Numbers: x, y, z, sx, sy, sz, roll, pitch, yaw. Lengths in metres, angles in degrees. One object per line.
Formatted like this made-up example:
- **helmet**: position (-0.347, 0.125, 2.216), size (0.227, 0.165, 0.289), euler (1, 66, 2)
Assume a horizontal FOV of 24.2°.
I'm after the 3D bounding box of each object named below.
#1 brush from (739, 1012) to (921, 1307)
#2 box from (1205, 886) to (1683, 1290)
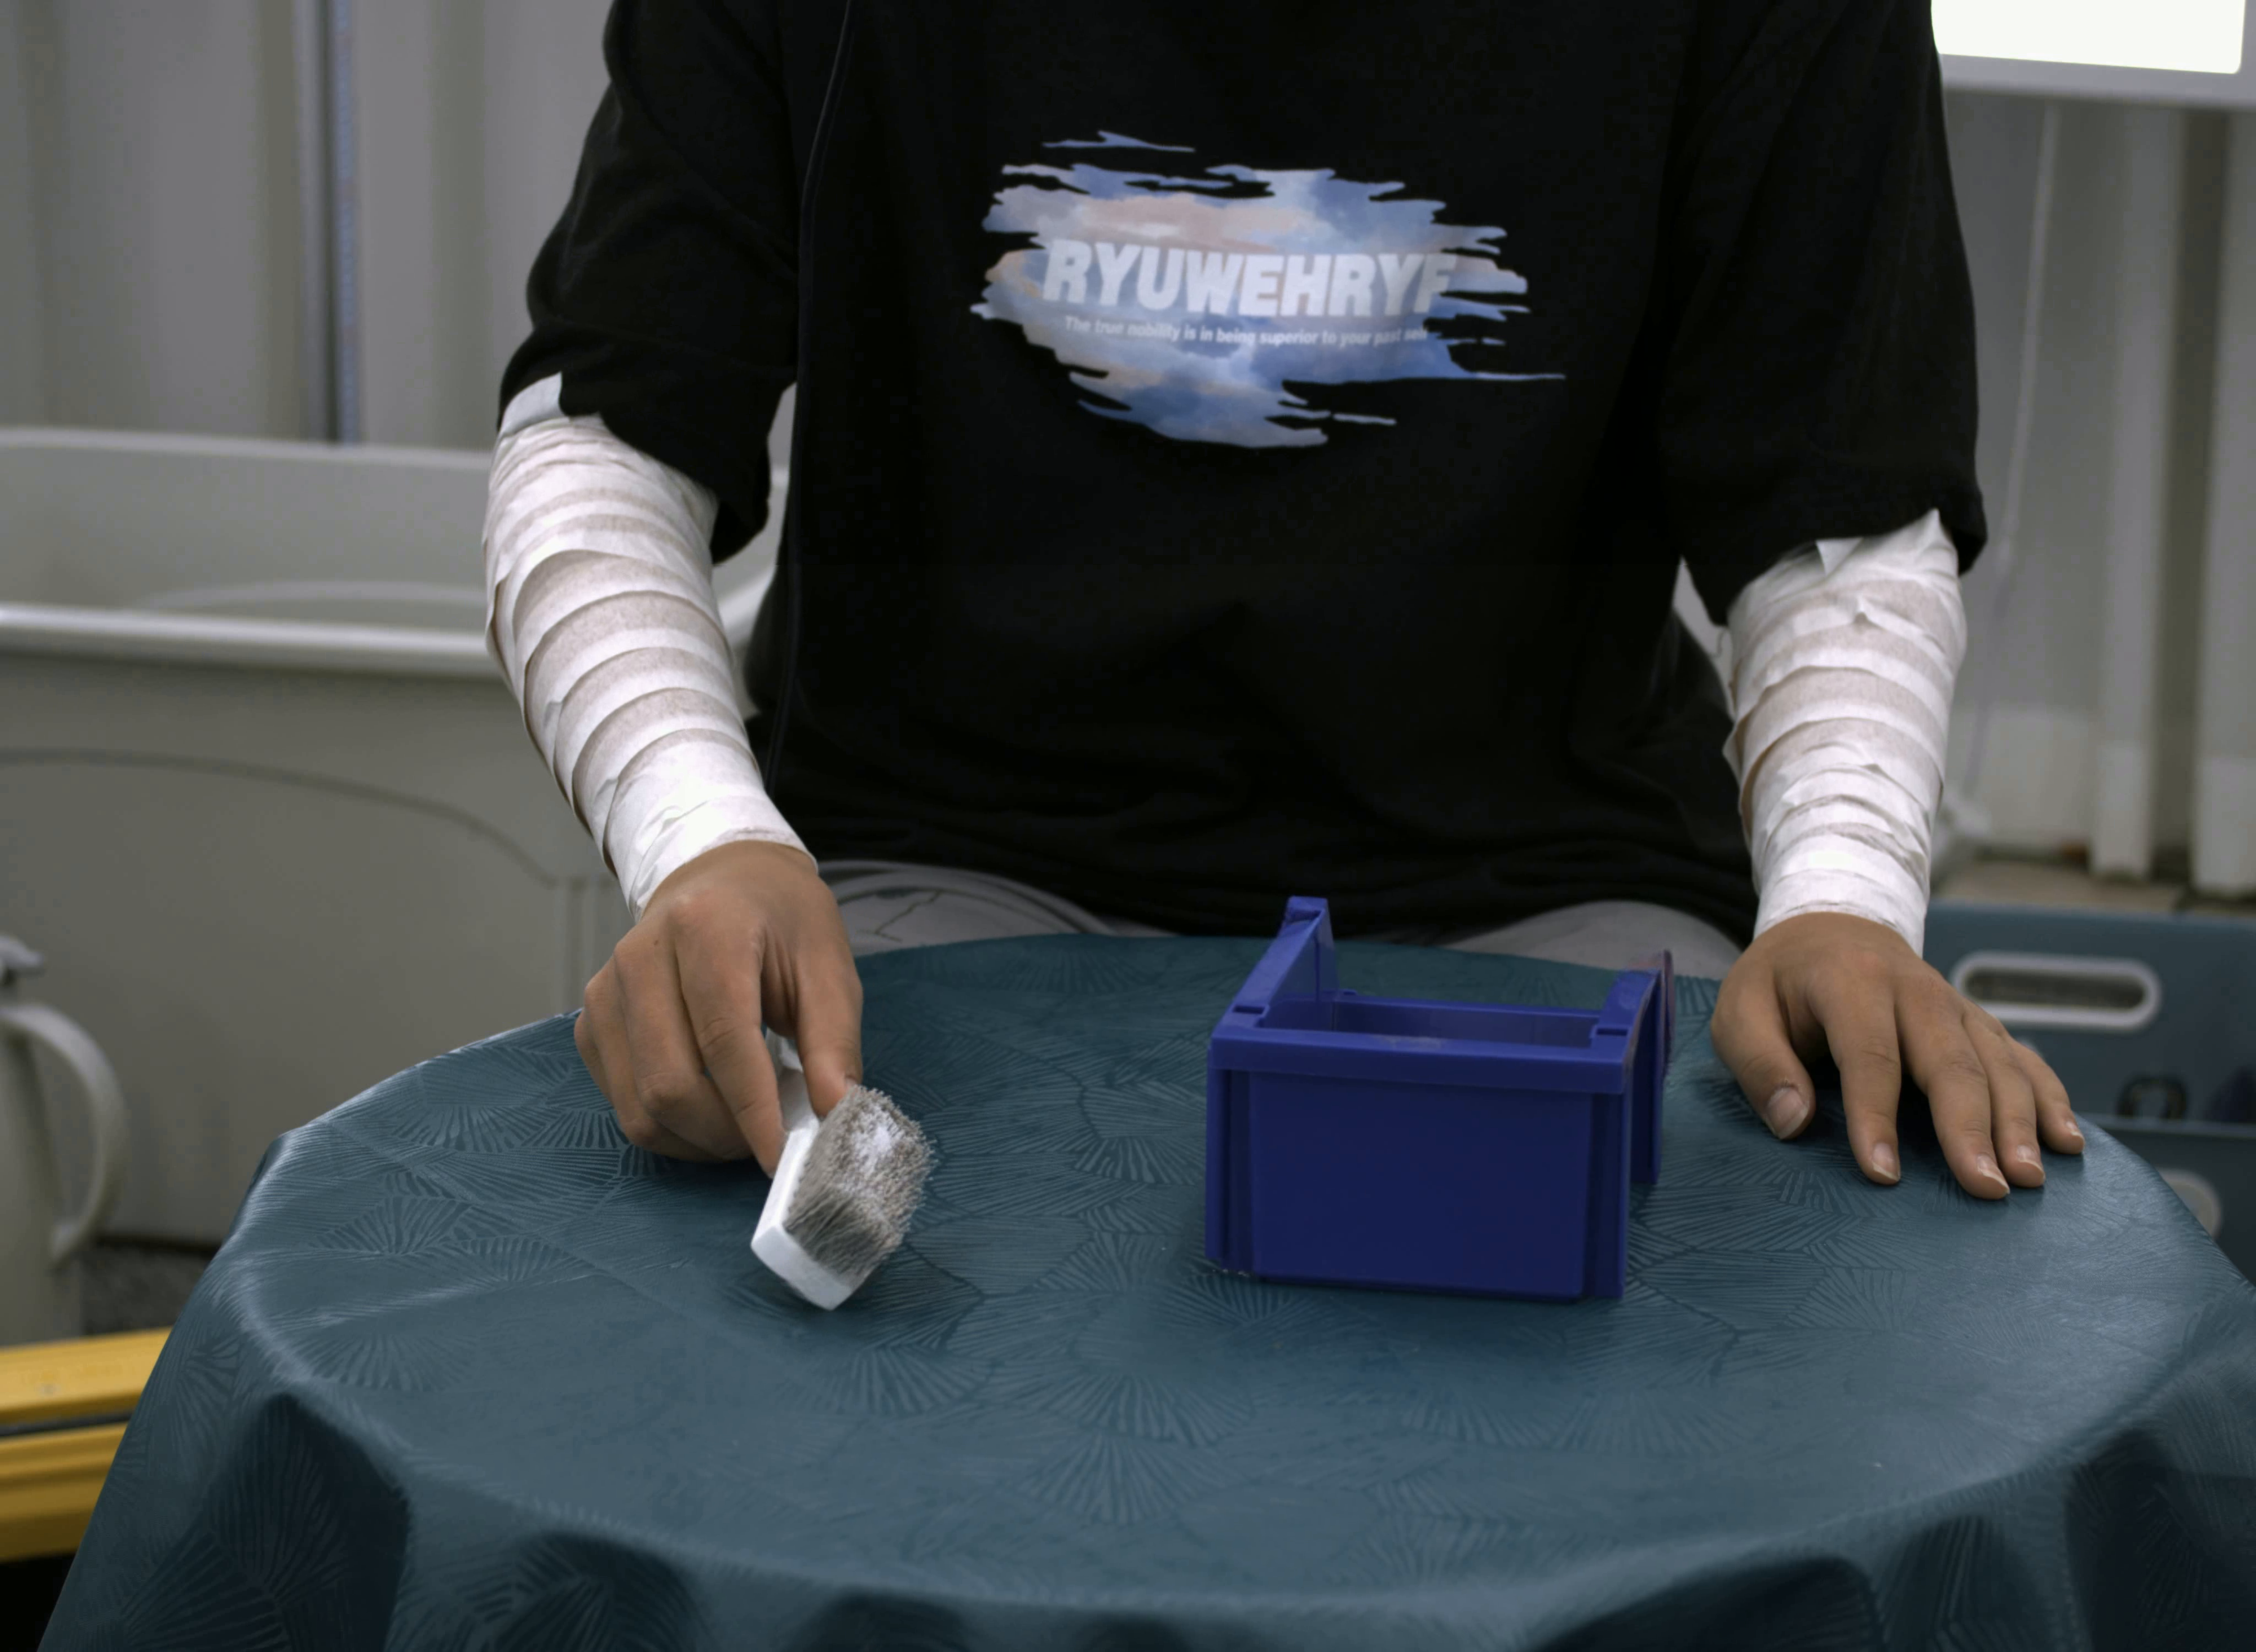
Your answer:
- **brush**: position (-0.088, 0.085, 1.615), size (0.034, 0.050, 0.242), euler (39, 11, -11)
- **box**: position (0.098, 0.075, 1.609), size (0.123, 0.082, 0.179), euler (3, 17, 12)
